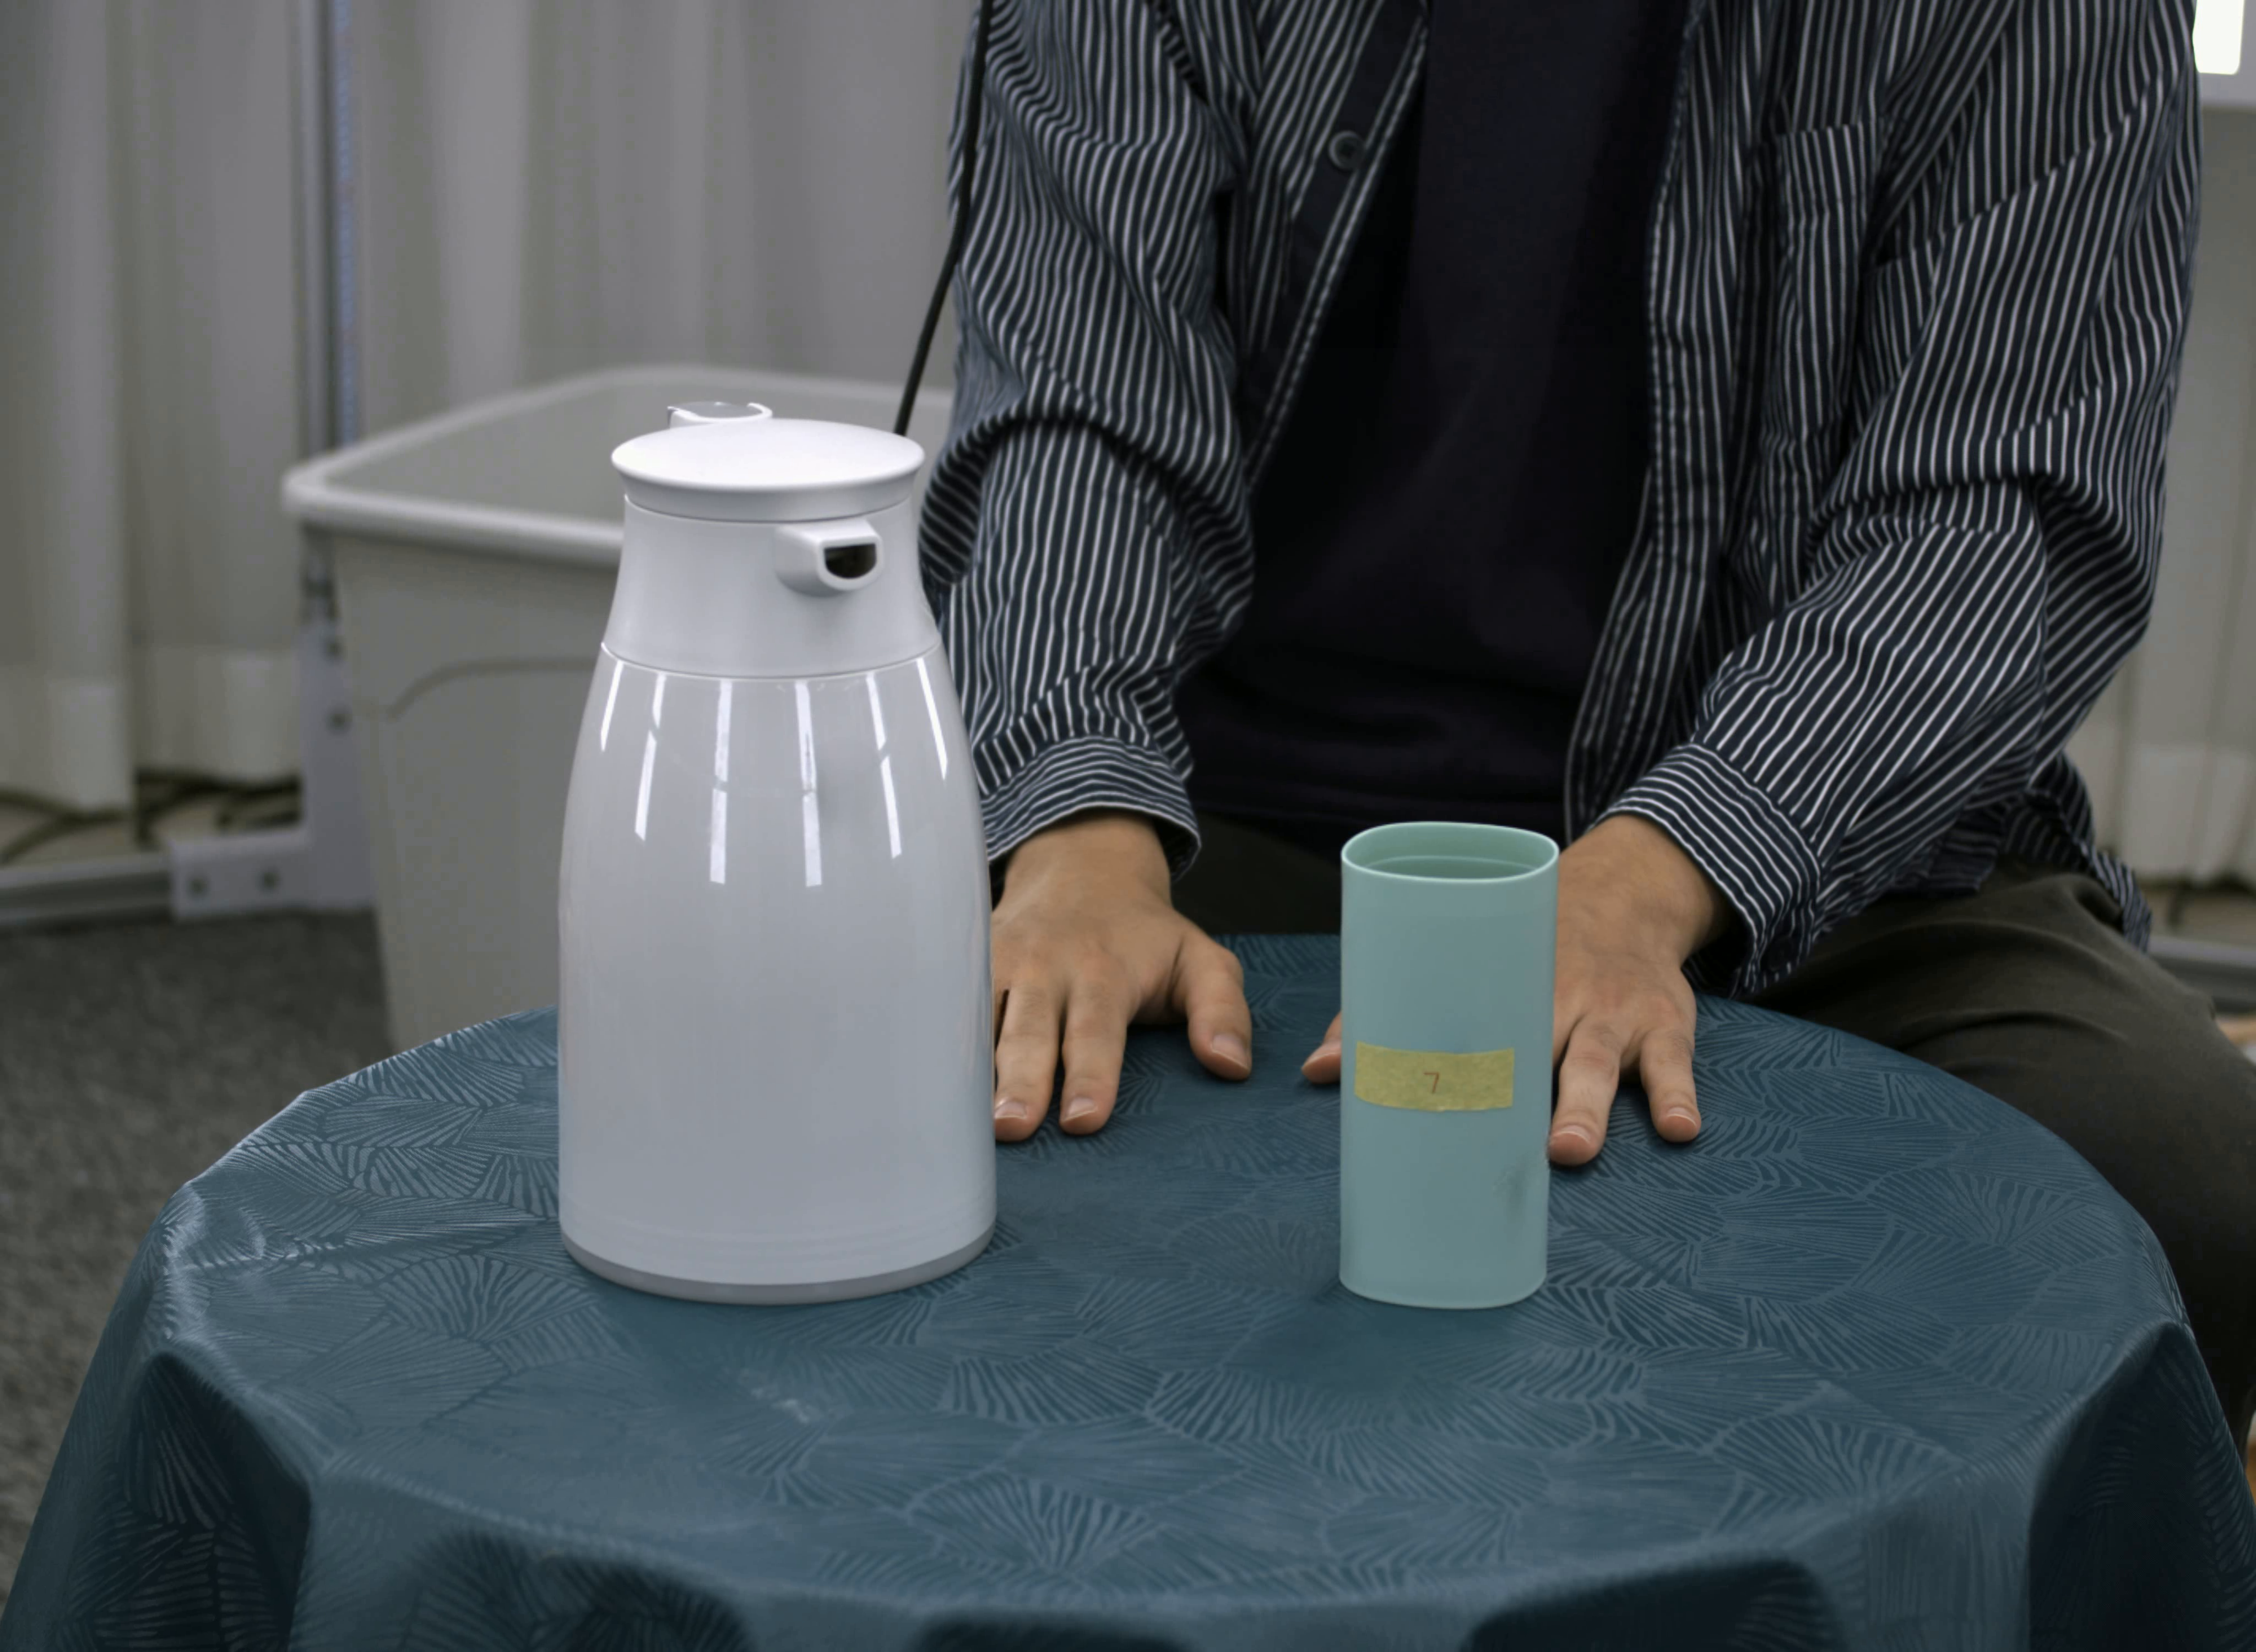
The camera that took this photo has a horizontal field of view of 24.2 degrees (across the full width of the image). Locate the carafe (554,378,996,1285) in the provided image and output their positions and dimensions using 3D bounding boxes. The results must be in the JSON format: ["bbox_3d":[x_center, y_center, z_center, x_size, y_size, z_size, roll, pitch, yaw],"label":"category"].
[{"bbox_3d":[-0.116,-0.007,1.572,0.133,0.250,0.165,-9,17,-28],"label":"carafe"}]

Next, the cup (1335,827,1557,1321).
[{"bbox_3d":[0.092,0.071,1.541,0.066,0.133,0.066,0,18,0],"label":"cup"}]
